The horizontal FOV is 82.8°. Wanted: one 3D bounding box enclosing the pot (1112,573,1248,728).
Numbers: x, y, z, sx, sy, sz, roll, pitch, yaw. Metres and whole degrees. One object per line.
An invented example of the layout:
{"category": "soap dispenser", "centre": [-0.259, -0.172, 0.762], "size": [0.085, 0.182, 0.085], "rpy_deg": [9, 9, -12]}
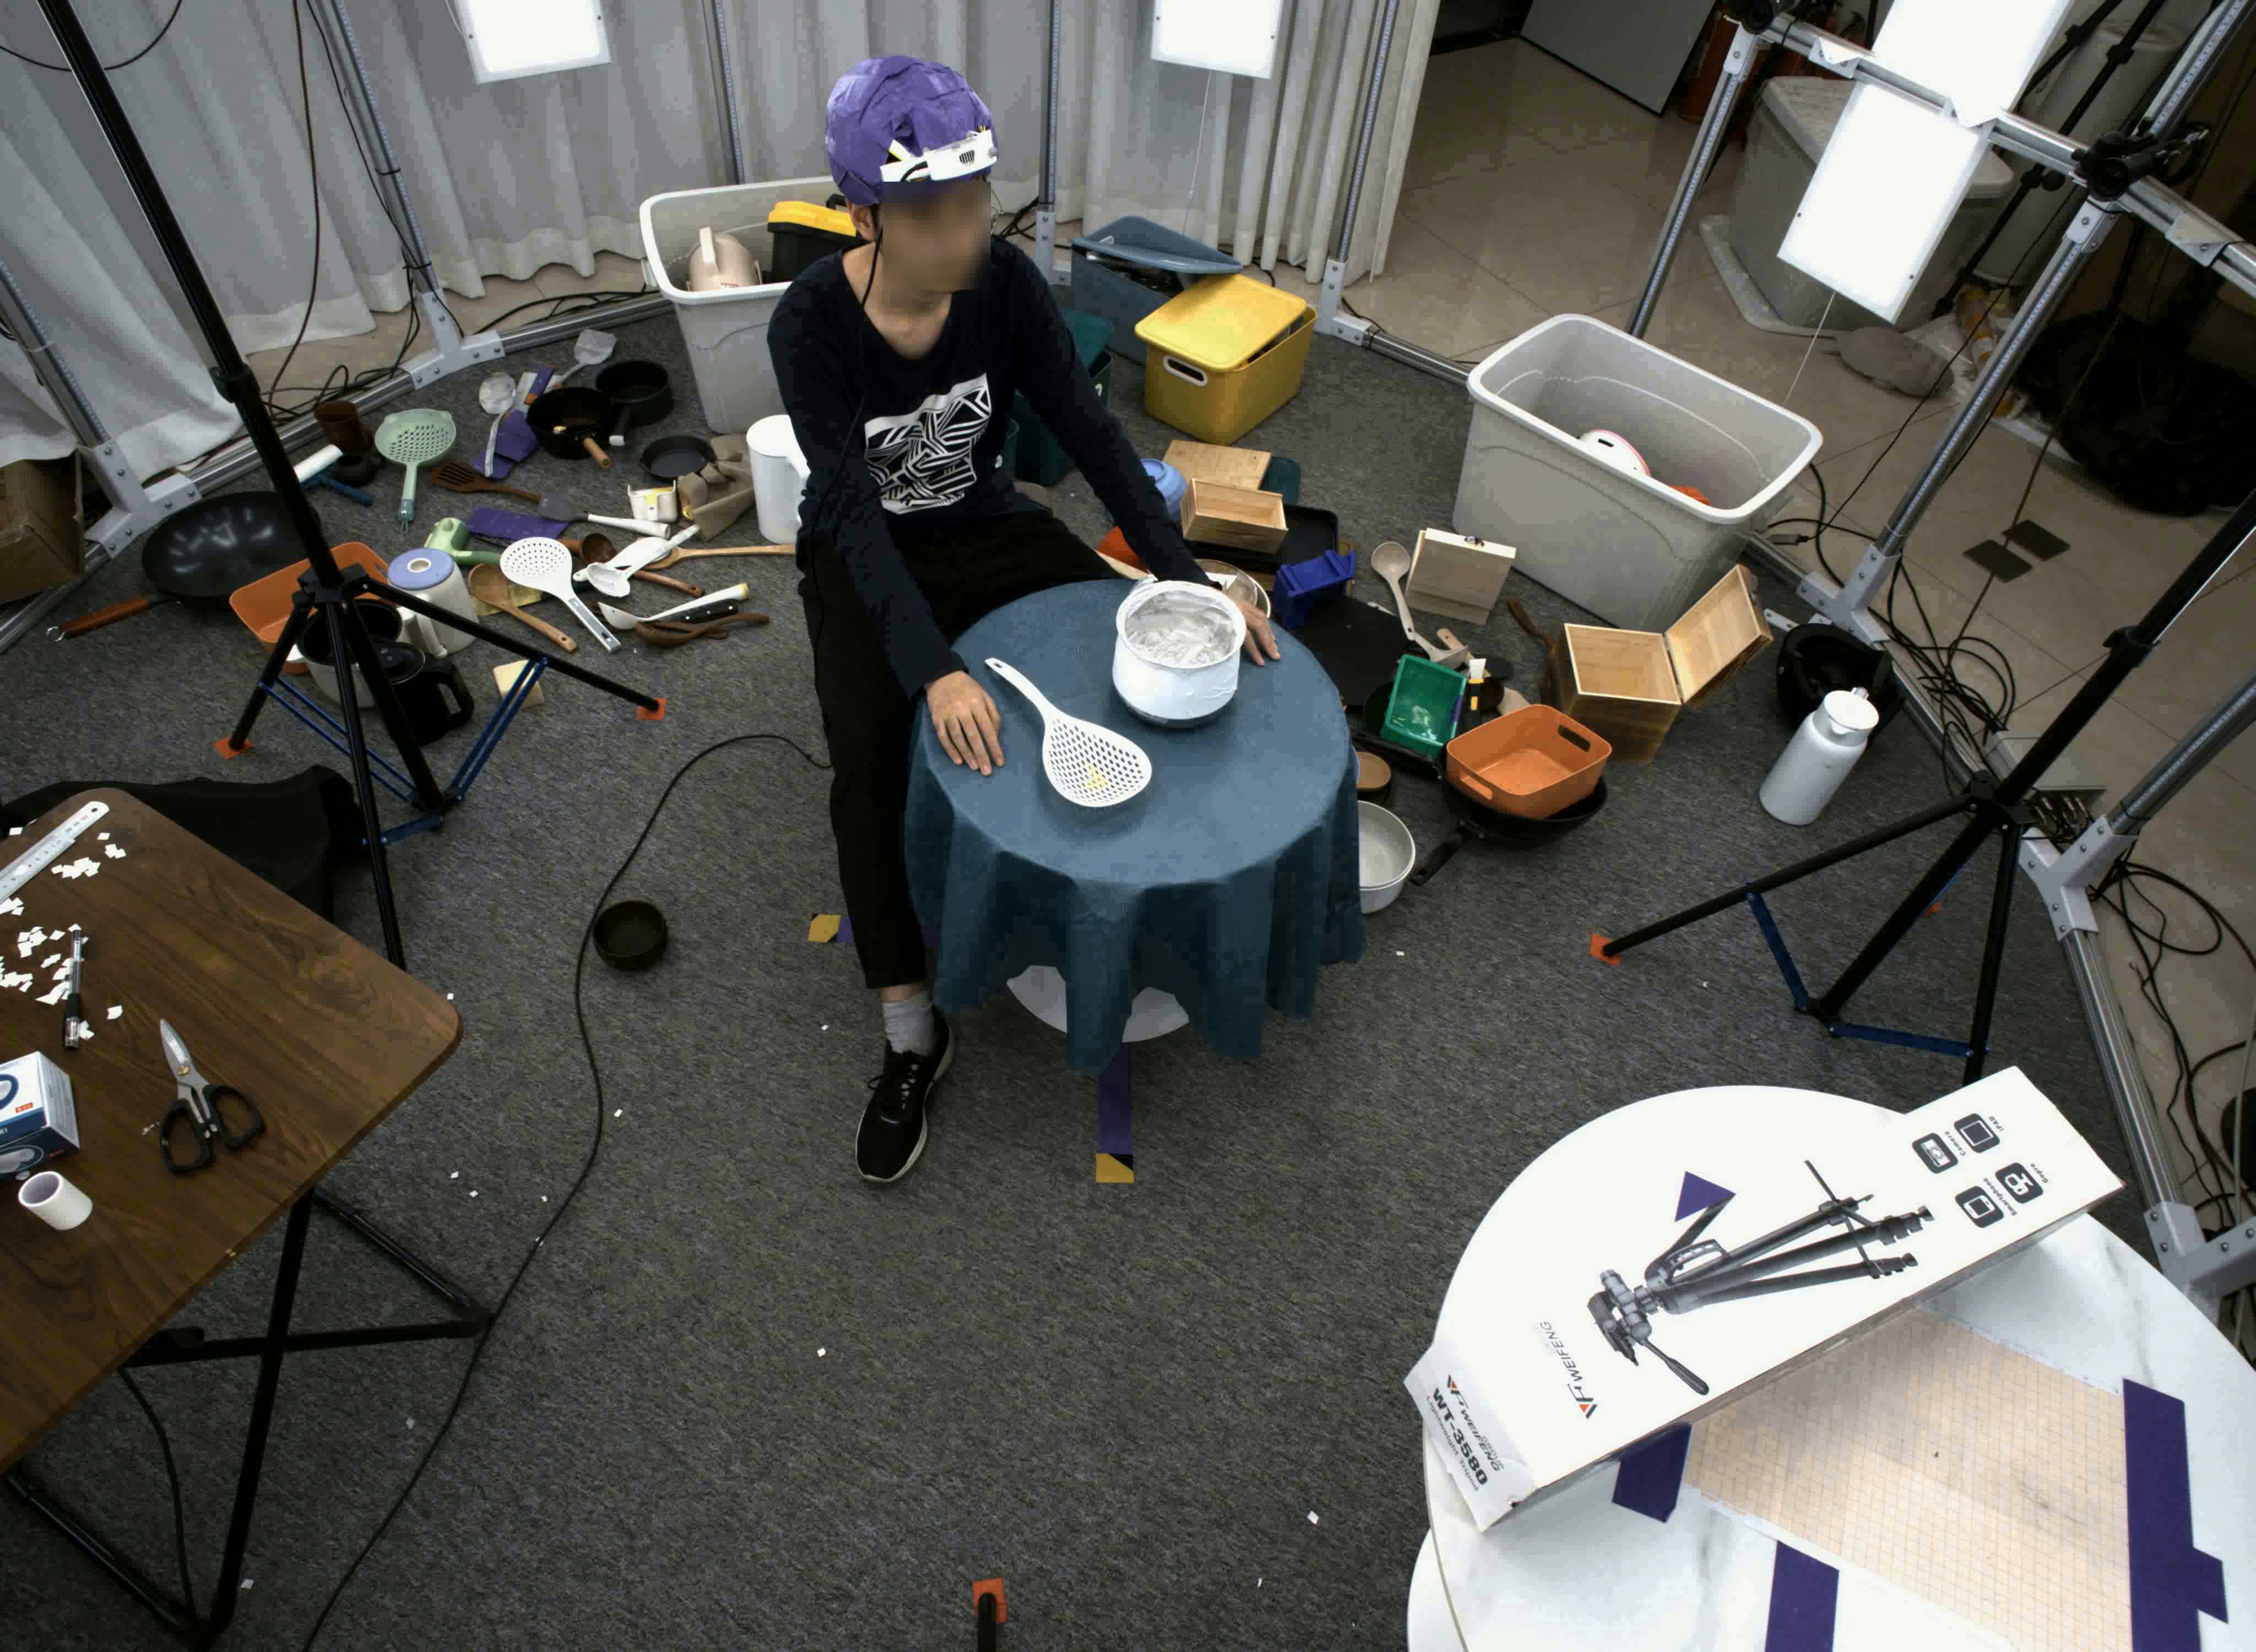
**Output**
{"category": "pot", "centre": [0.056, -0.256, 1.802], "size": [0.179, 0.133, 0.239], "rpy_deg": [-17, 54, -21]}

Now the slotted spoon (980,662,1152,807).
{"category": "slotted spoon", "centre": [-0.102, -0.138, 1.752], "size": [0.137, 0.049, 0.354], "rpy_deg": [-26, 56, -23]}
